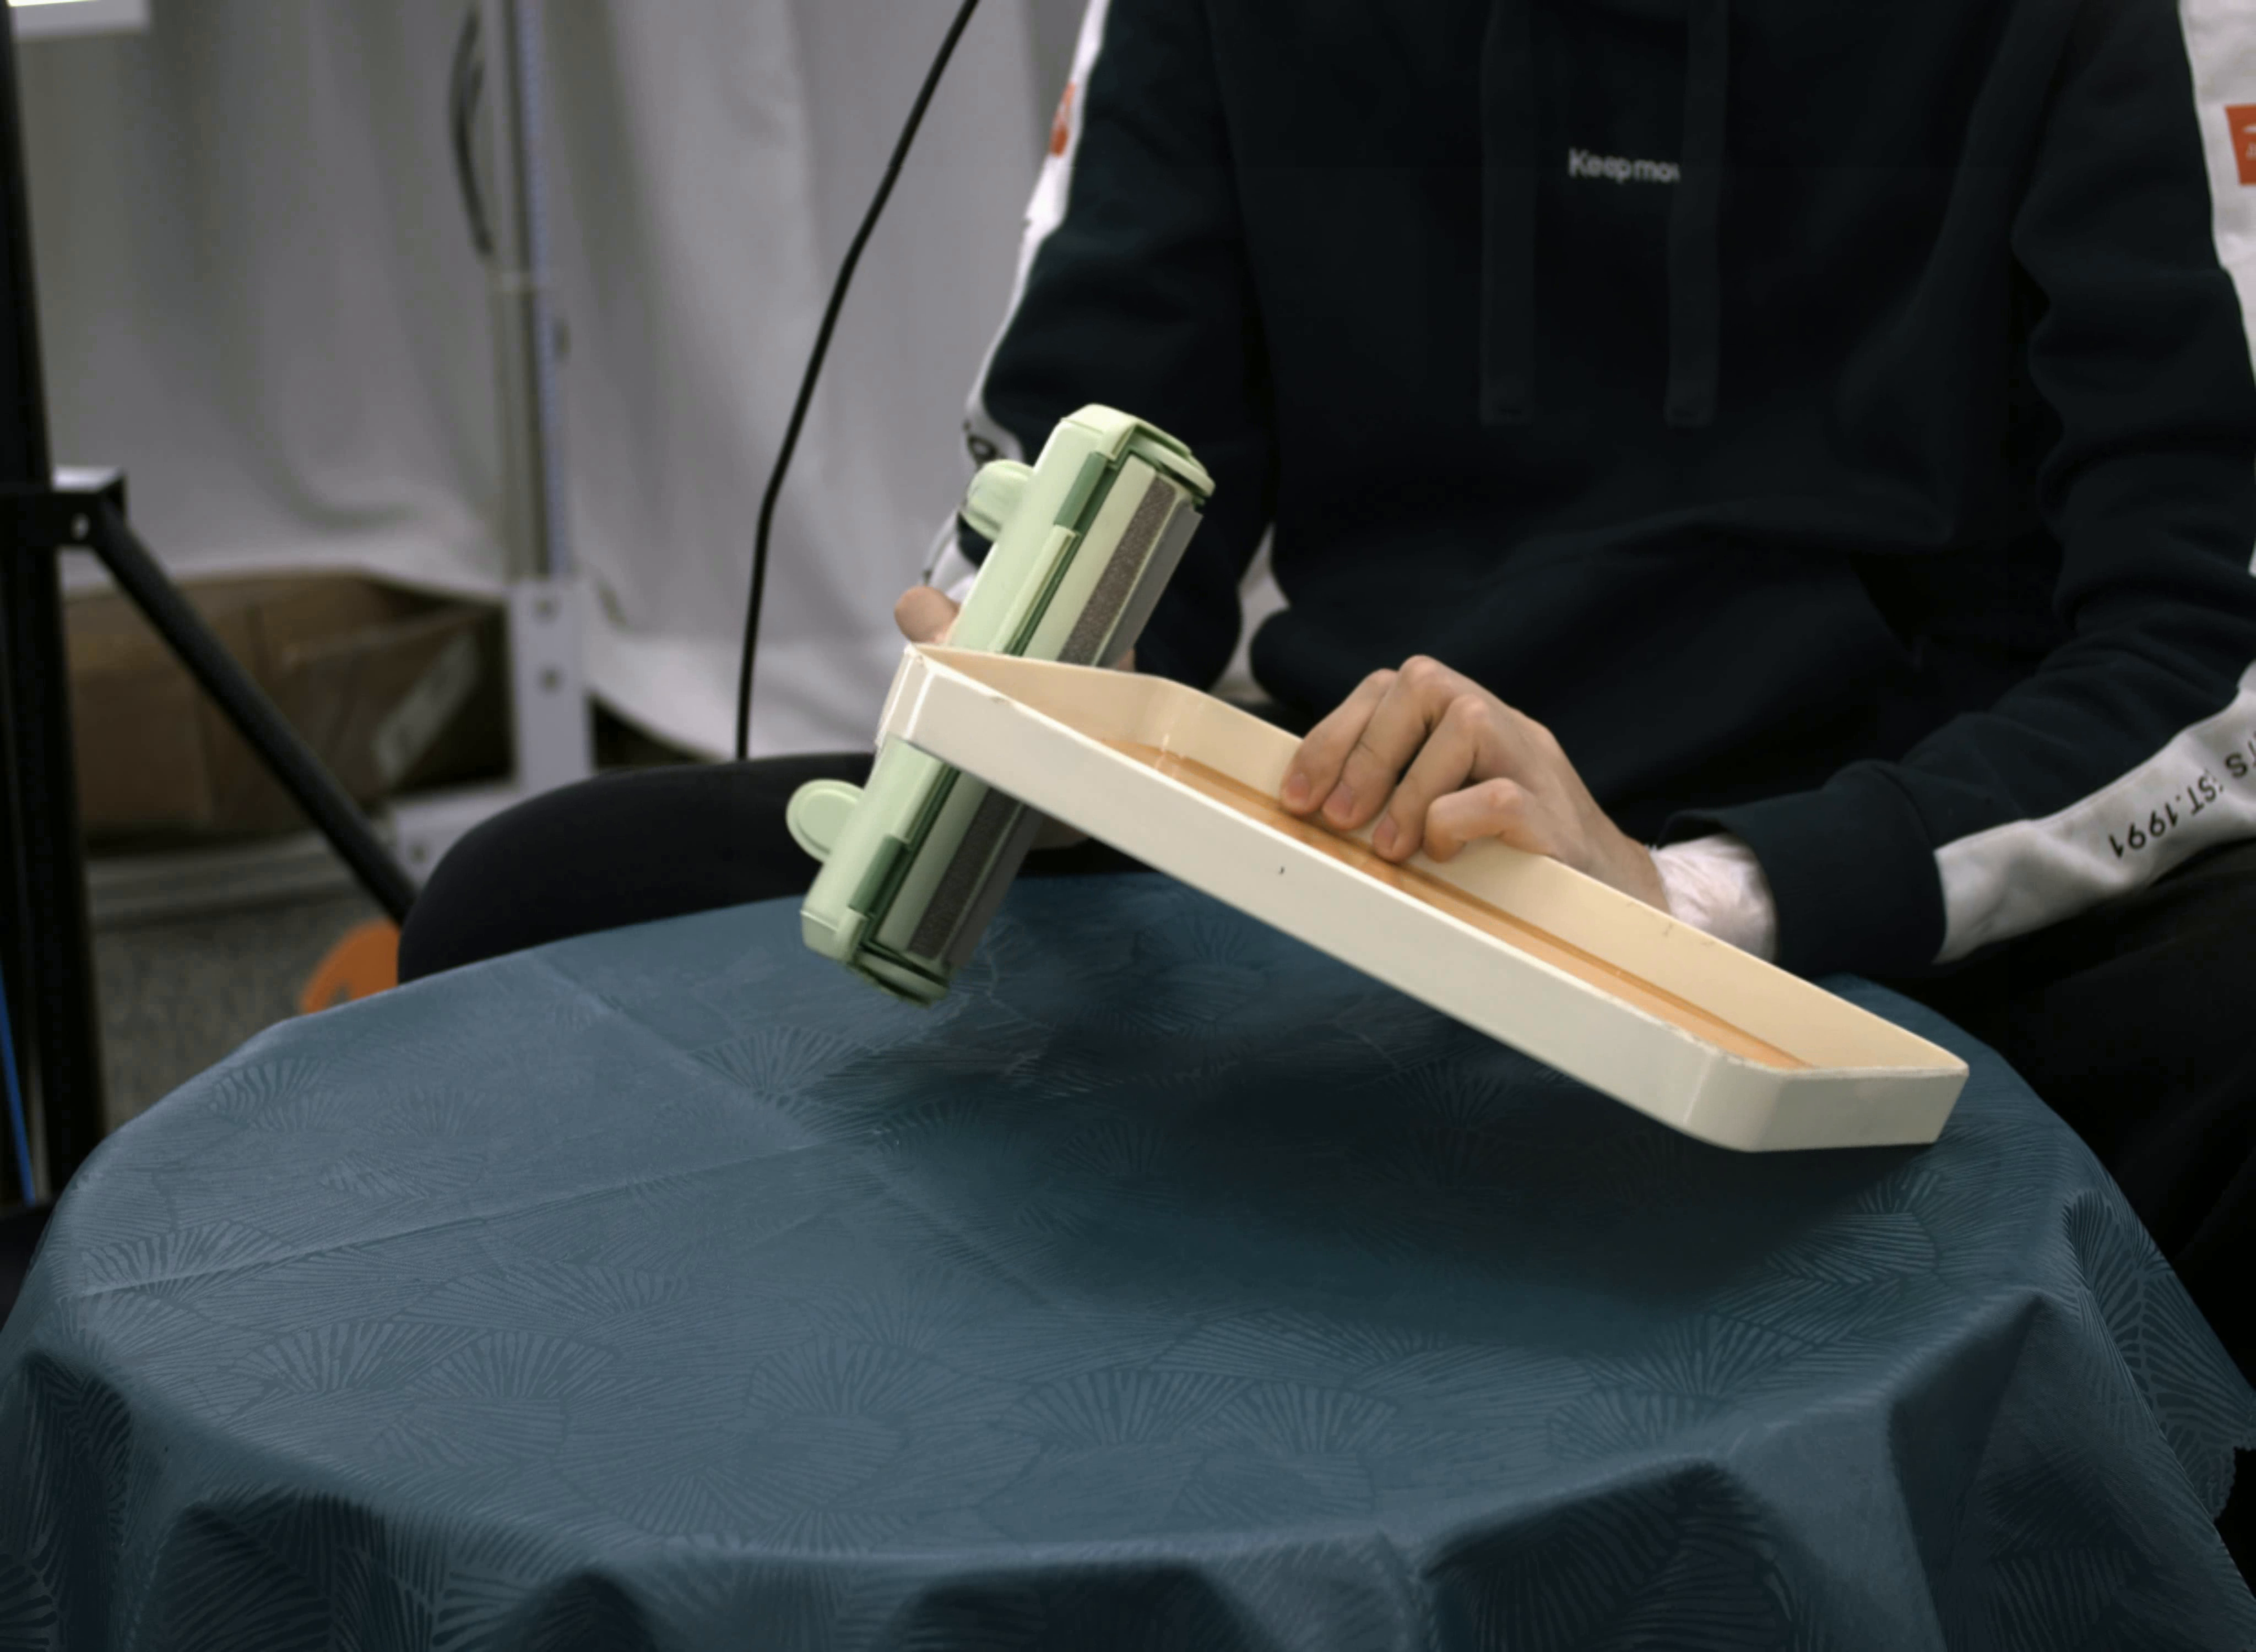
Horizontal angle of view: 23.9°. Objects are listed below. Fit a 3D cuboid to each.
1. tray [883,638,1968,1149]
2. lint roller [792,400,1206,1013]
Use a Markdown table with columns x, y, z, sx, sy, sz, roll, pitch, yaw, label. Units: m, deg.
| x | y | z | sx | sy | sz | roll | pitch | yaw | label |
| --- | --- | --- | --- | --- | --- | --- | --- | --- | --- |
| 0.088 | 0.021 | 1.557 | 0.306 | 0.027 | 0.187 | 27 | 9 | 27 | tray |
| -0.047 | -0.038 | 1.740 | 0.082 | 0.199 | 0.183 | 26 | -3 | -2 | lint roller |
